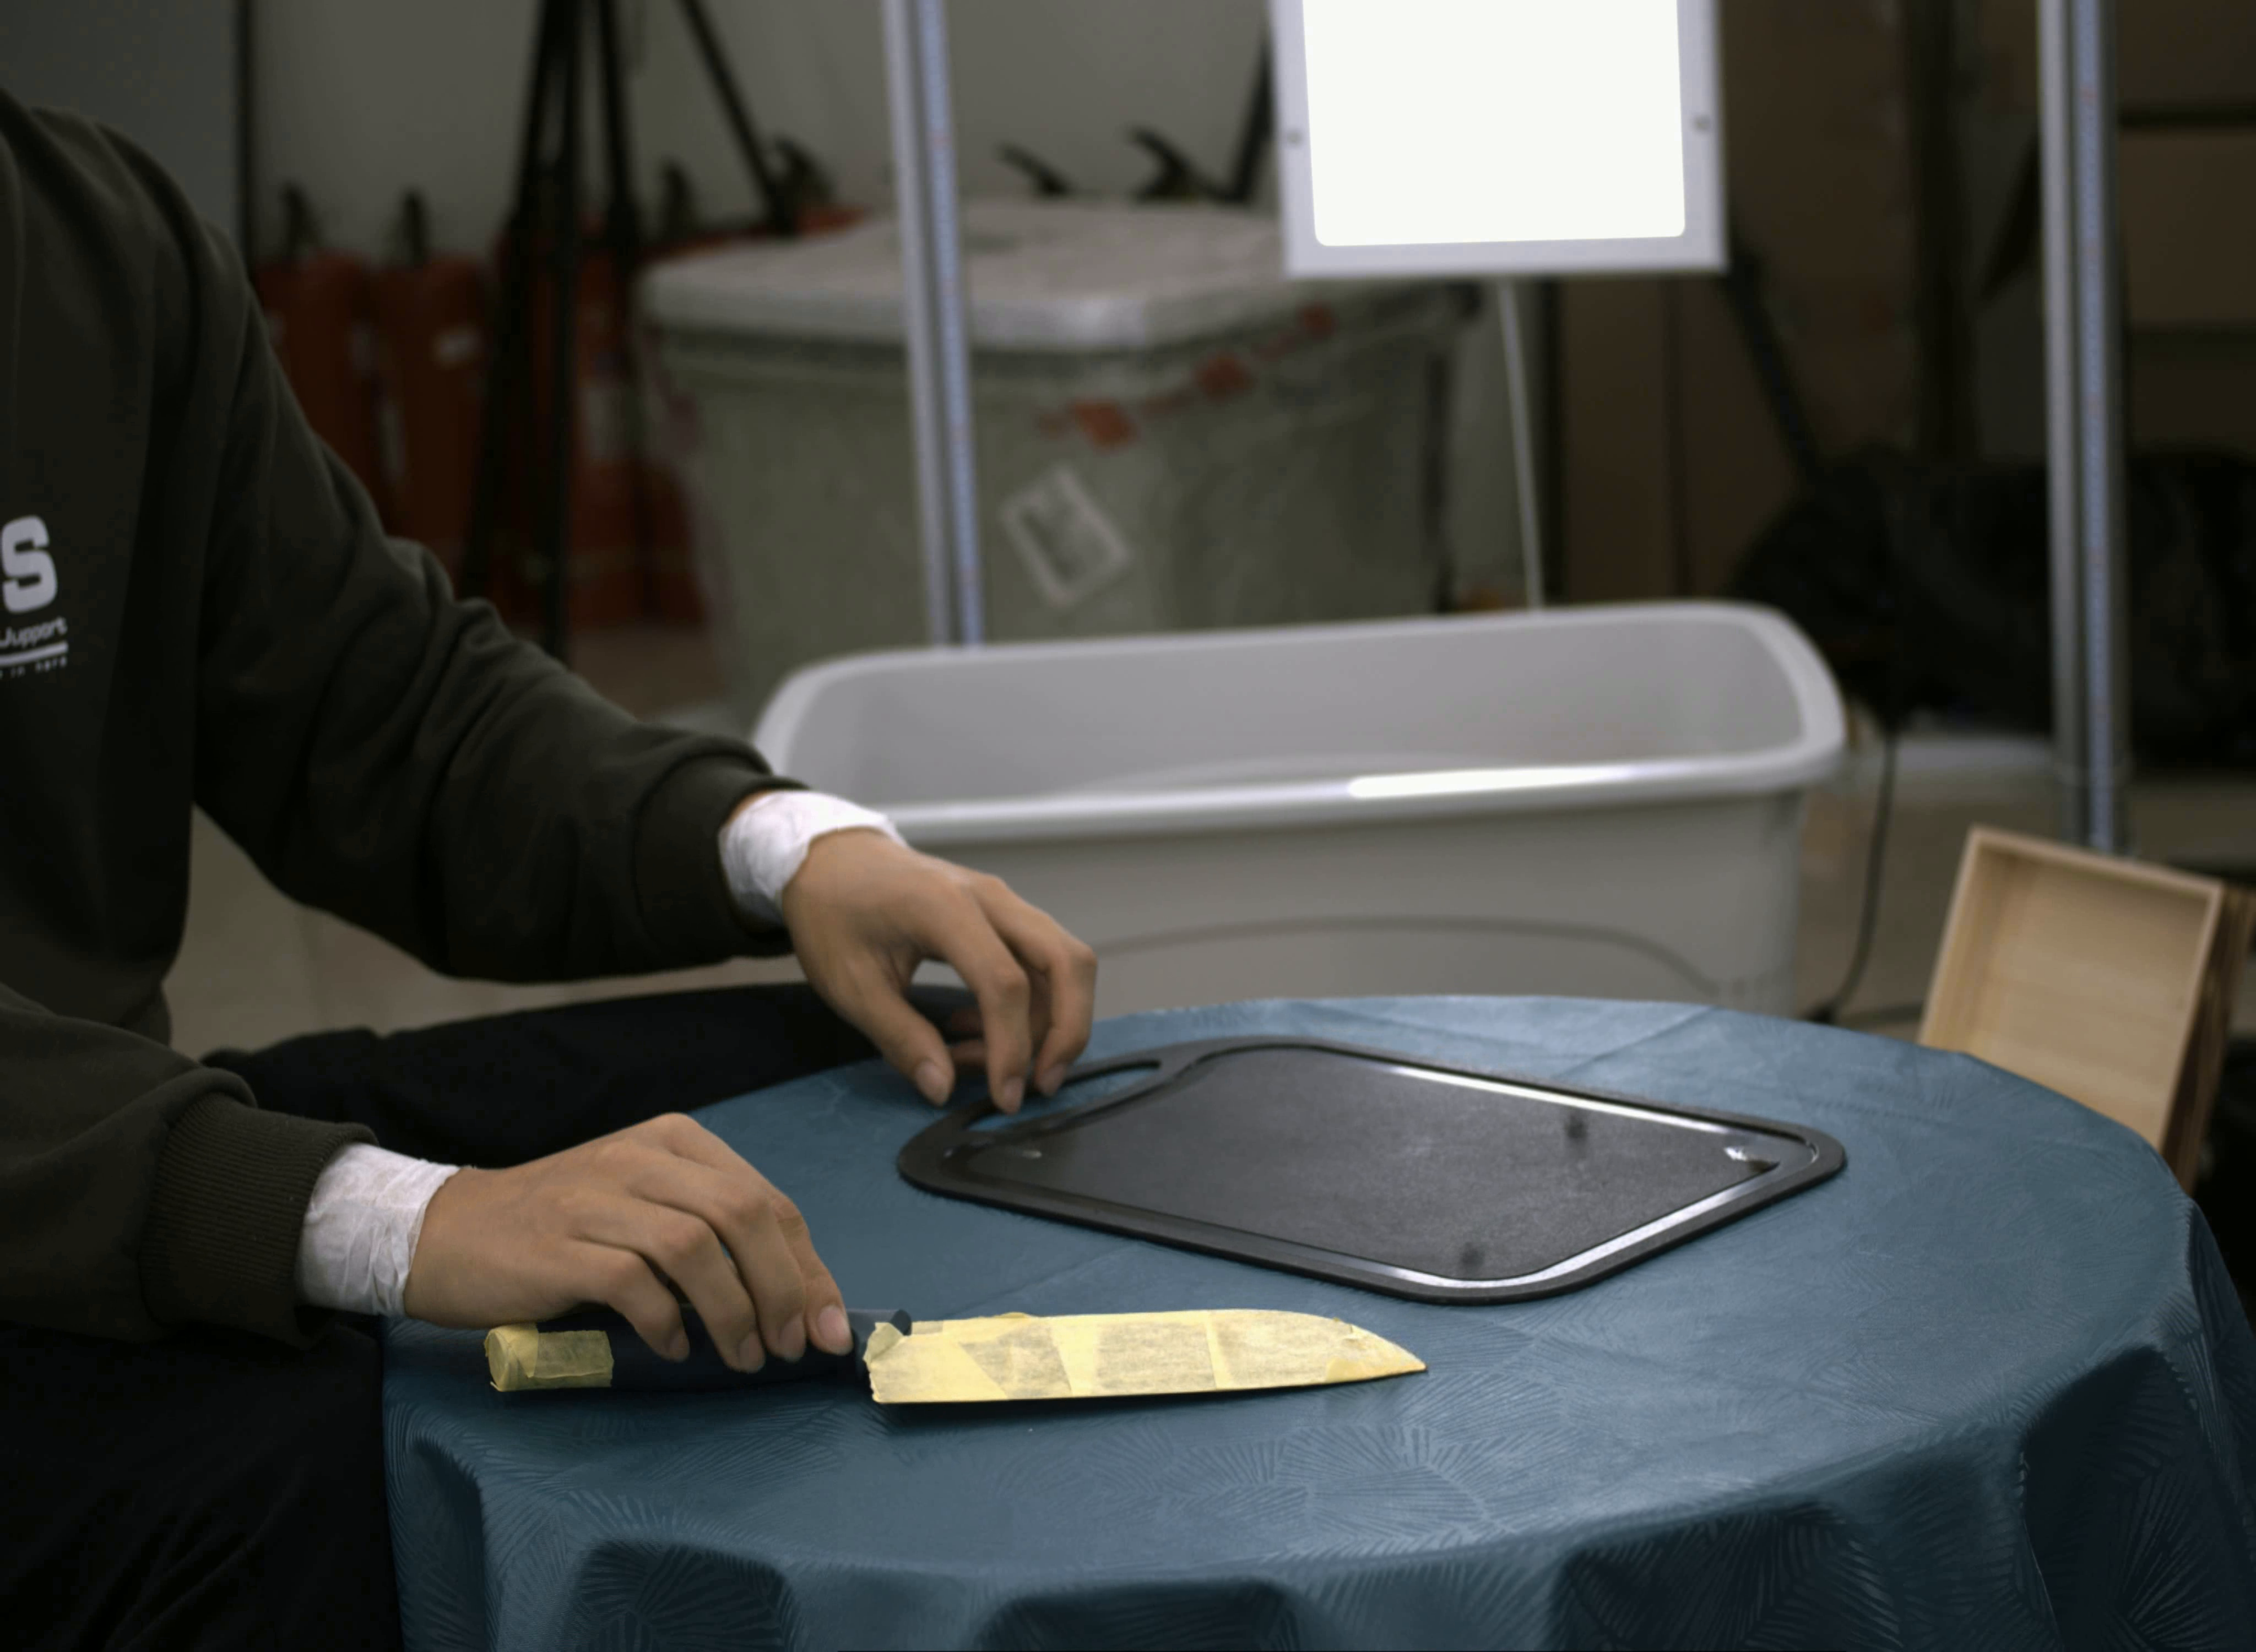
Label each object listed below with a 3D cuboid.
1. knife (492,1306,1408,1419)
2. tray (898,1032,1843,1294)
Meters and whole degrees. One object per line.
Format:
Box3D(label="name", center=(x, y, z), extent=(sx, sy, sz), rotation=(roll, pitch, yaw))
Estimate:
Box3D(label="knife", center=(-0.056, 0.168, 1.722), extent=(0.289, 0.027, 0.081), rotation=(-4, 12, 3))
Box3D(label="tray", center=(0.075, 0.112, 1.917), extent=(0.206, 0.010, 0.332), rotation=(-18, 18, -42))
